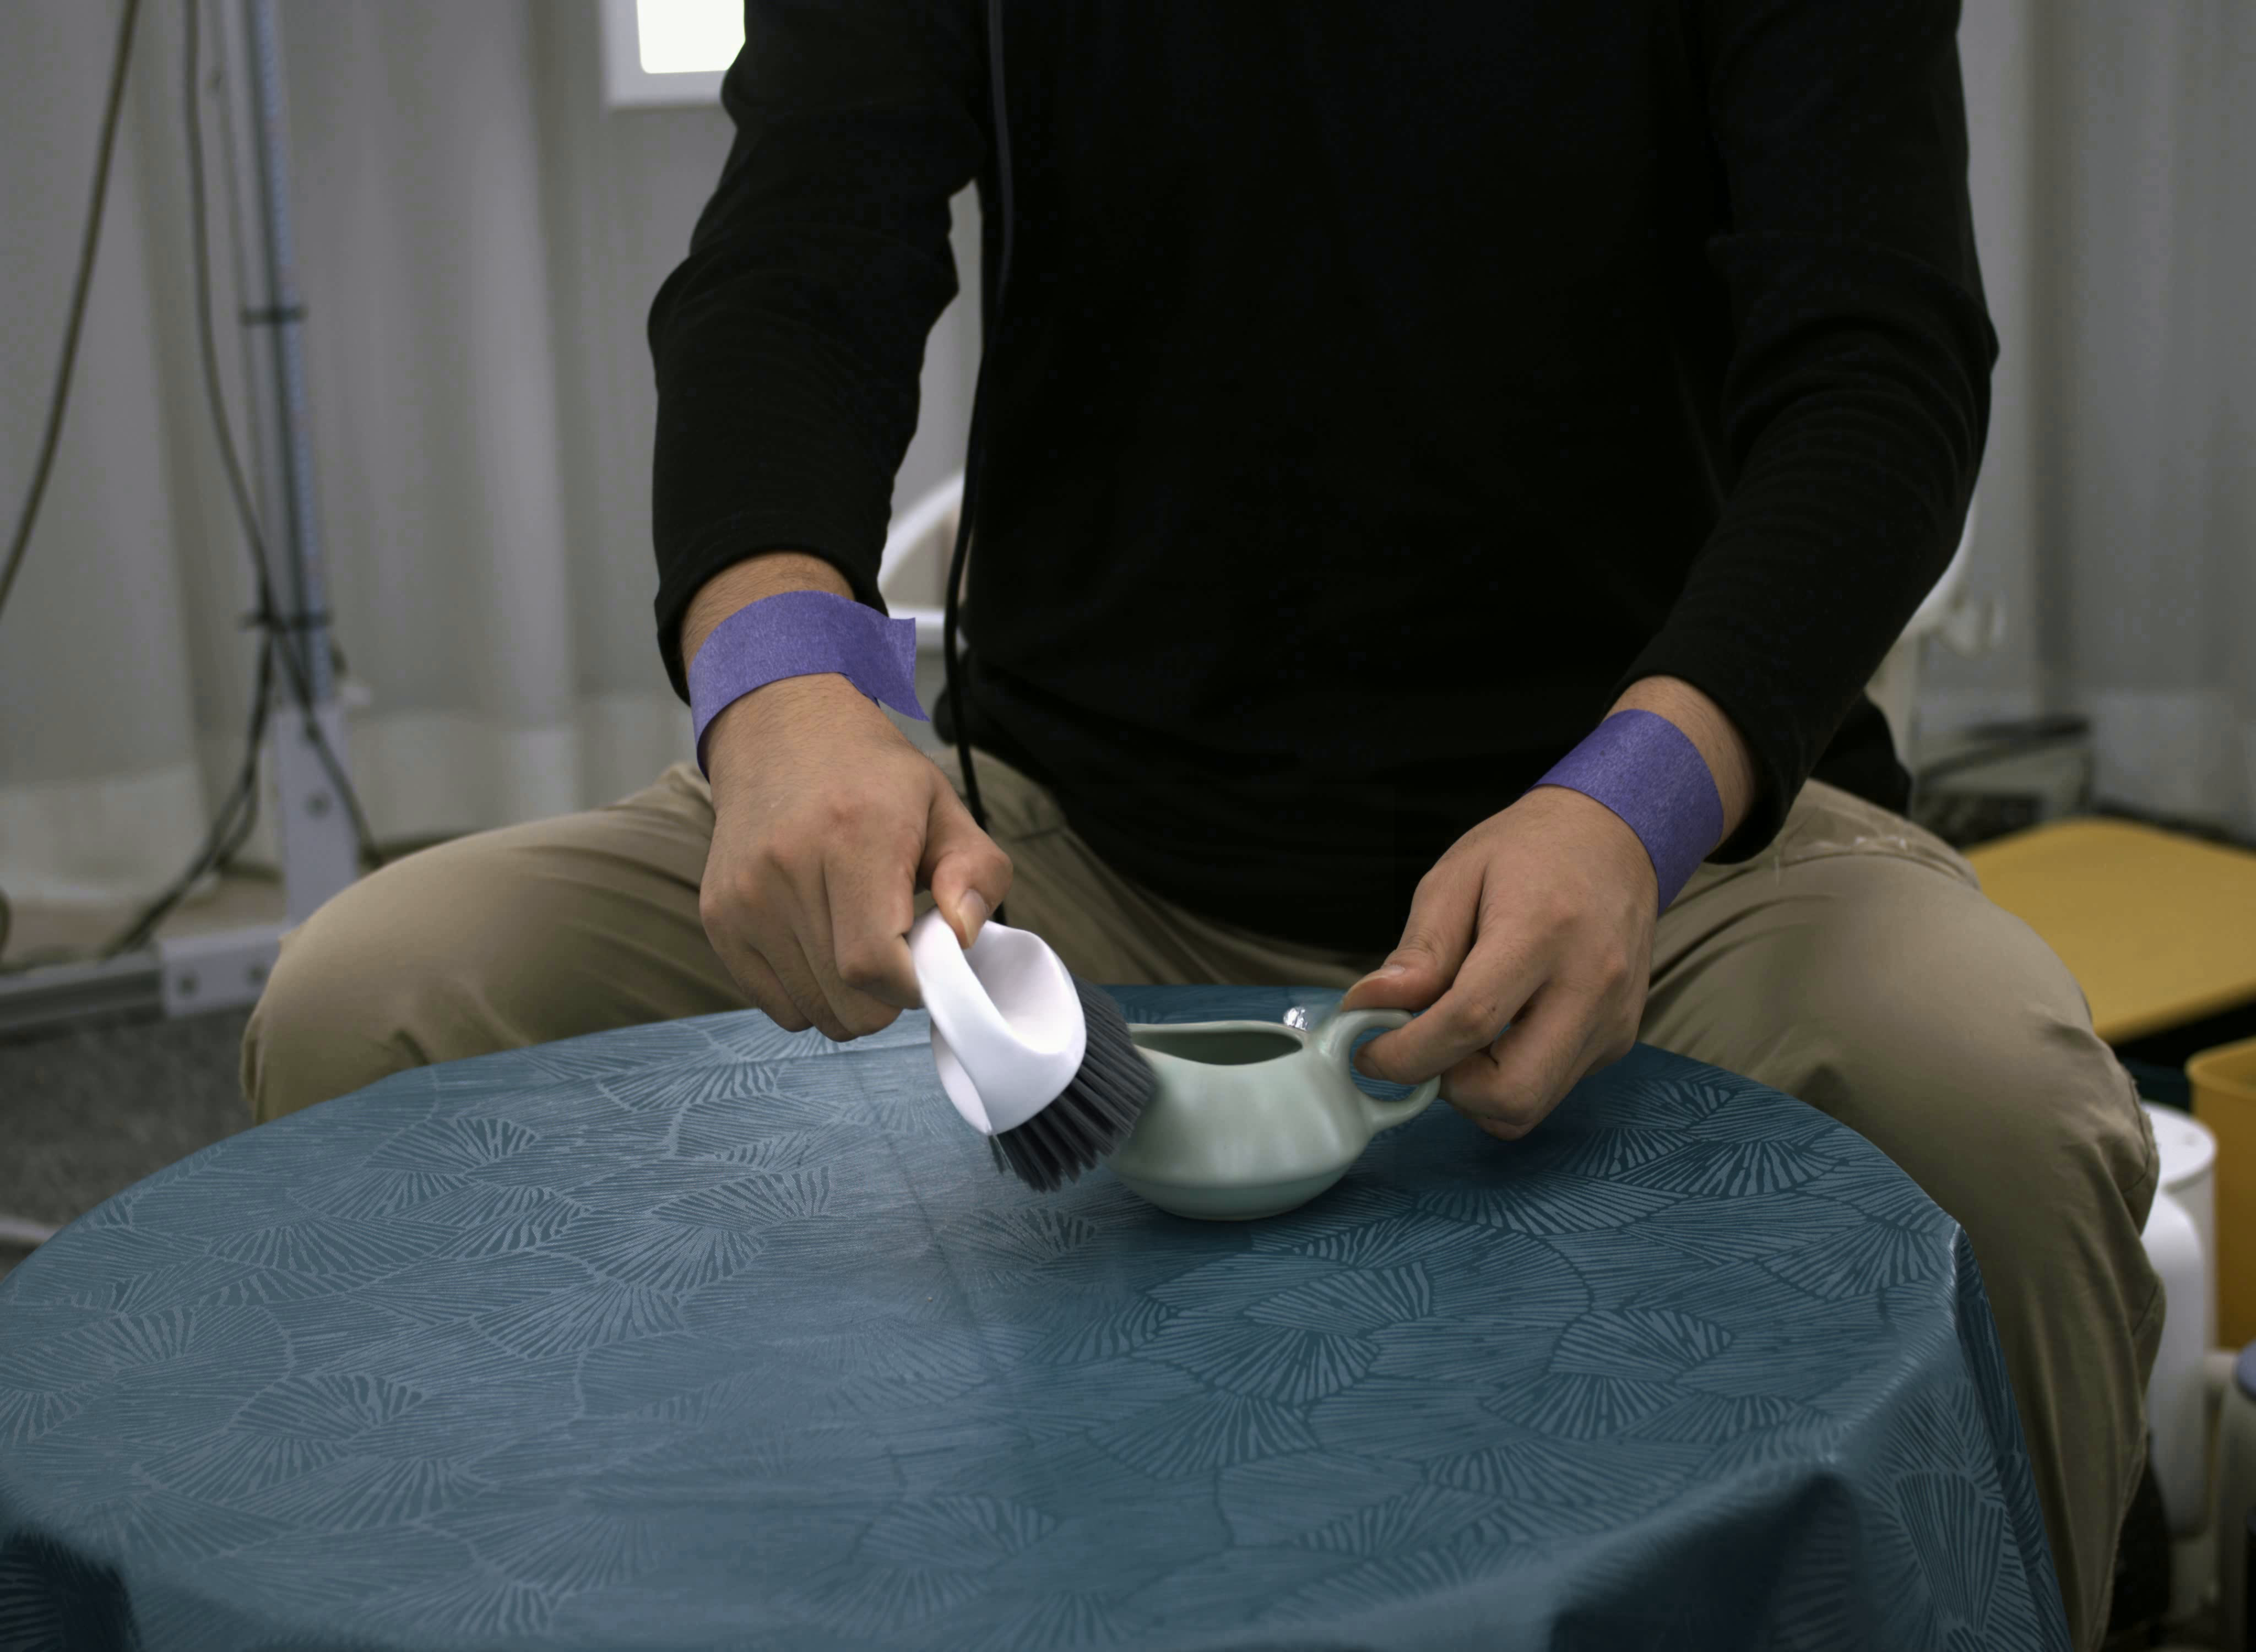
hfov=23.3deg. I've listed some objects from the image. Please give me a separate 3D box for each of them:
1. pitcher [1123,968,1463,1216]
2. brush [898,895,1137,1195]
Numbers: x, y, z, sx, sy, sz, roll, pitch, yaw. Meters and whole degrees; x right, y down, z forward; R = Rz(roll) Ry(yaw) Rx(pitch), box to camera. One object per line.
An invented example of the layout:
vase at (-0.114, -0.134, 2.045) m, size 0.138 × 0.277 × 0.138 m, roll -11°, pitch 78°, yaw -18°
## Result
pitcher at (0.054, 0.084, 1.698) m, size 0.108 × 0.060 × 0.086 m, roll -17°, pitch 1°, yaw 13°
brush at (-0.041, 0.058, 1.658) m, size 0.050 × 0.072 × 0.100 m, roll -38°, pitch 25°, yaw 10°
